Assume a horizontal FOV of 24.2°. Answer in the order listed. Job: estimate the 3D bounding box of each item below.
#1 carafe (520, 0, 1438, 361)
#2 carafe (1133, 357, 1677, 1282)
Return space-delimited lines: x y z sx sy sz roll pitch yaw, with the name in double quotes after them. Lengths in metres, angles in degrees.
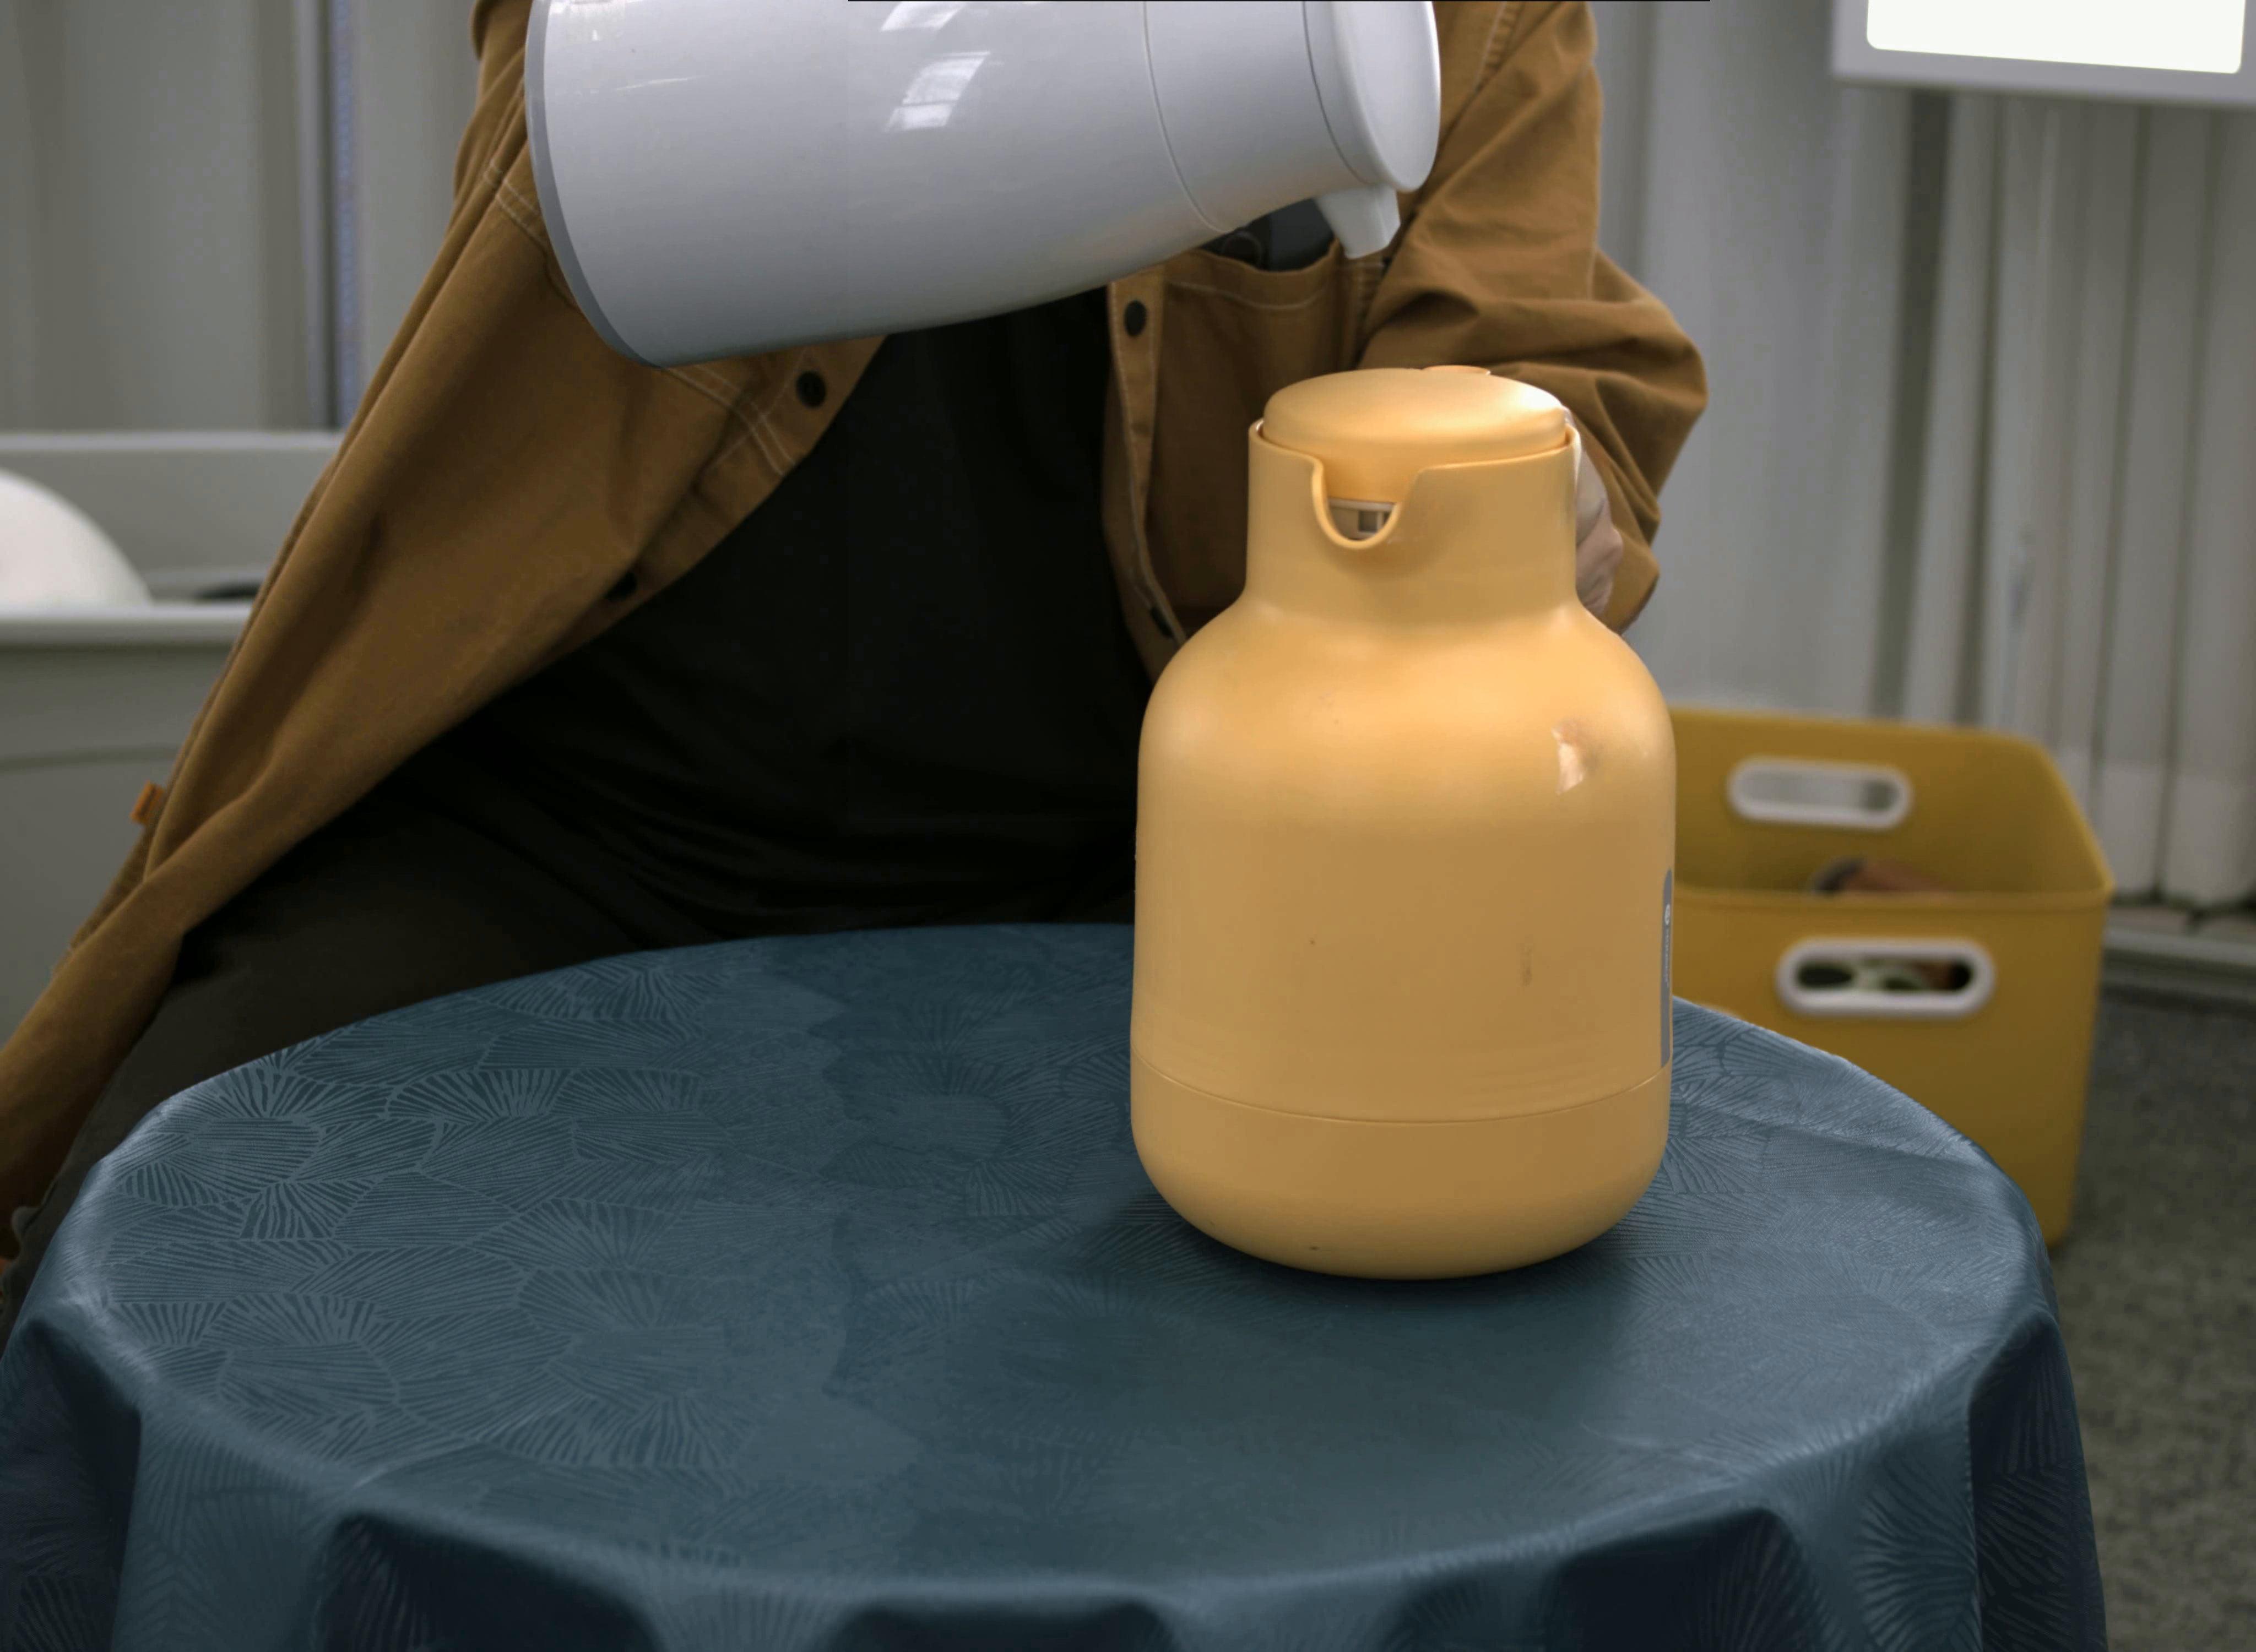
-0.041 -0.230 1.505 0.246 0.170 0.132 -6 27 20 "carafe"
0.090 -0.010 1.581 0.162 0.262 0.202 7 18 17 "carafe"
